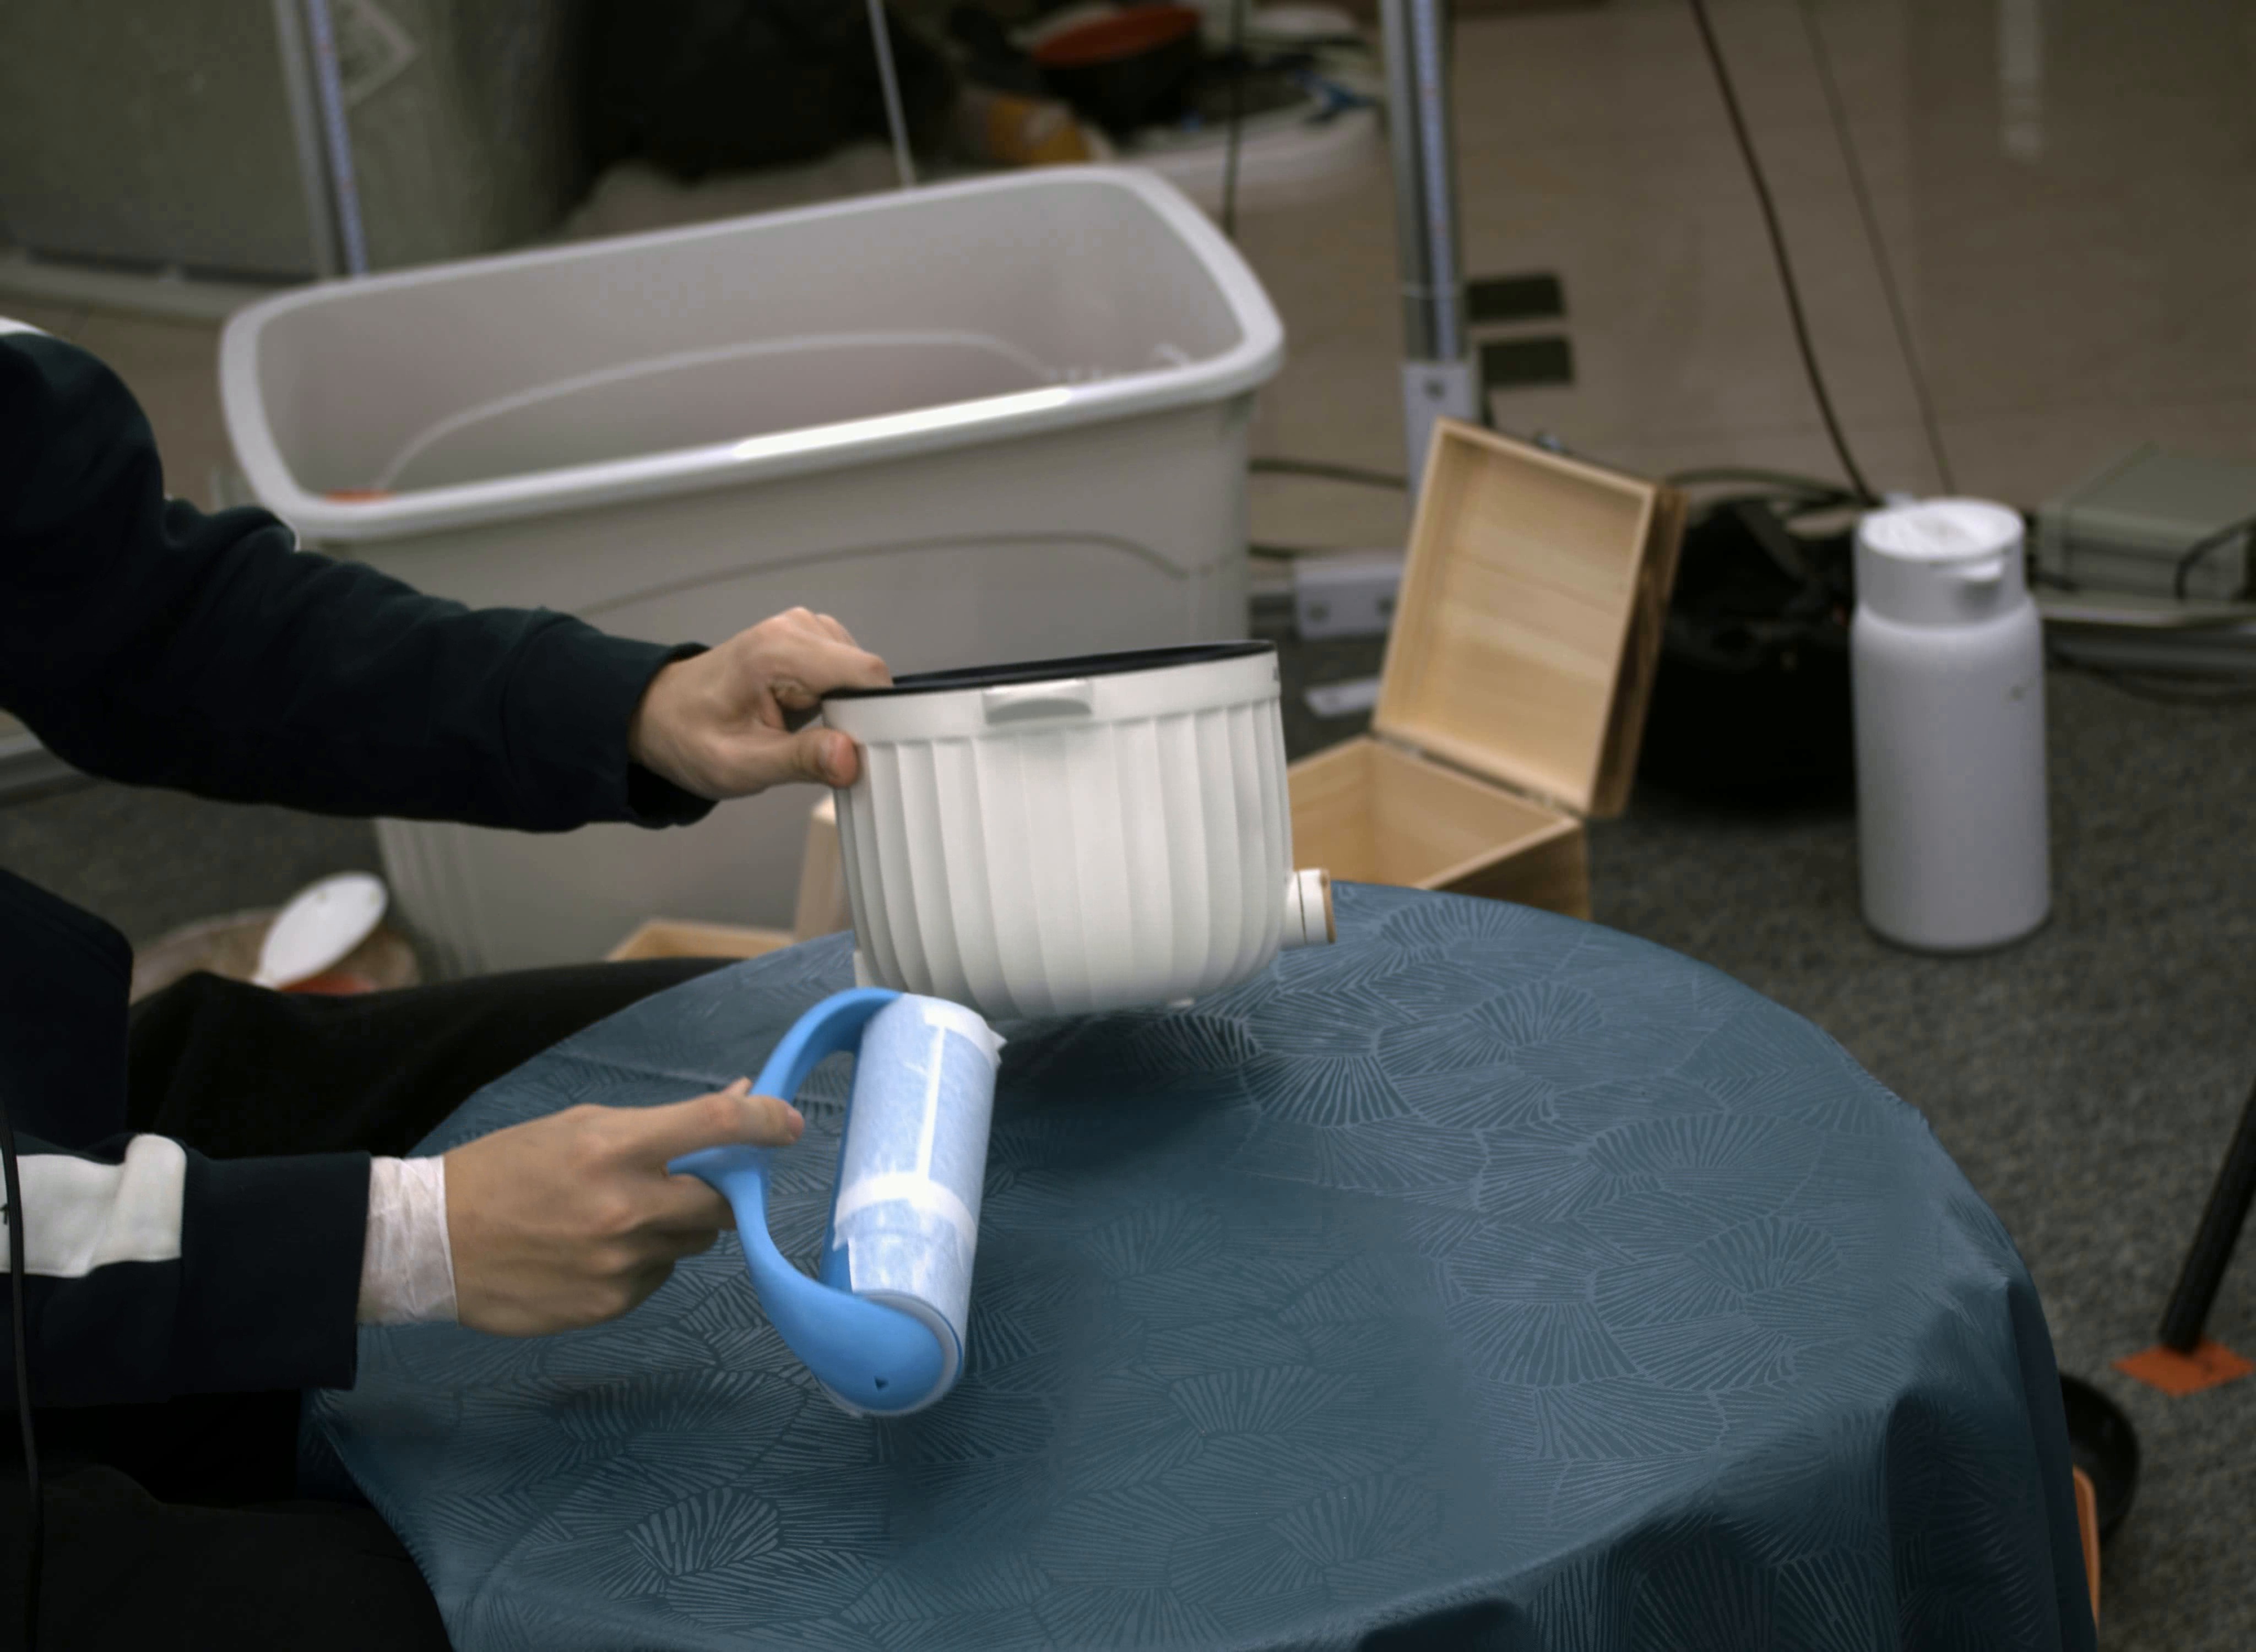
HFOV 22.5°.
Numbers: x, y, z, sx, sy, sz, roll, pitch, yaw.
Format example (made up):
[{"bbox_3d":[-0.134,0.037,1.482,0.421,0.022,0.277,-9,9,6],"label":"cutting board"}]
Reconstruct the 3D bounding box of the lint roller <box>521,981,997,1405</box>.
[{"bbox_3d":[-0.135,0.138,2.022,0.180,0.069,0.225,-9,31,3],"label":"lint roller"}]

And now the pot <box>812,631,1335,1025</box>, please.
[{"bbox_3d":[-0.020,0.000,2.221,0.190,0.143,0.239,-9,4,2],"label":"pot"}]
